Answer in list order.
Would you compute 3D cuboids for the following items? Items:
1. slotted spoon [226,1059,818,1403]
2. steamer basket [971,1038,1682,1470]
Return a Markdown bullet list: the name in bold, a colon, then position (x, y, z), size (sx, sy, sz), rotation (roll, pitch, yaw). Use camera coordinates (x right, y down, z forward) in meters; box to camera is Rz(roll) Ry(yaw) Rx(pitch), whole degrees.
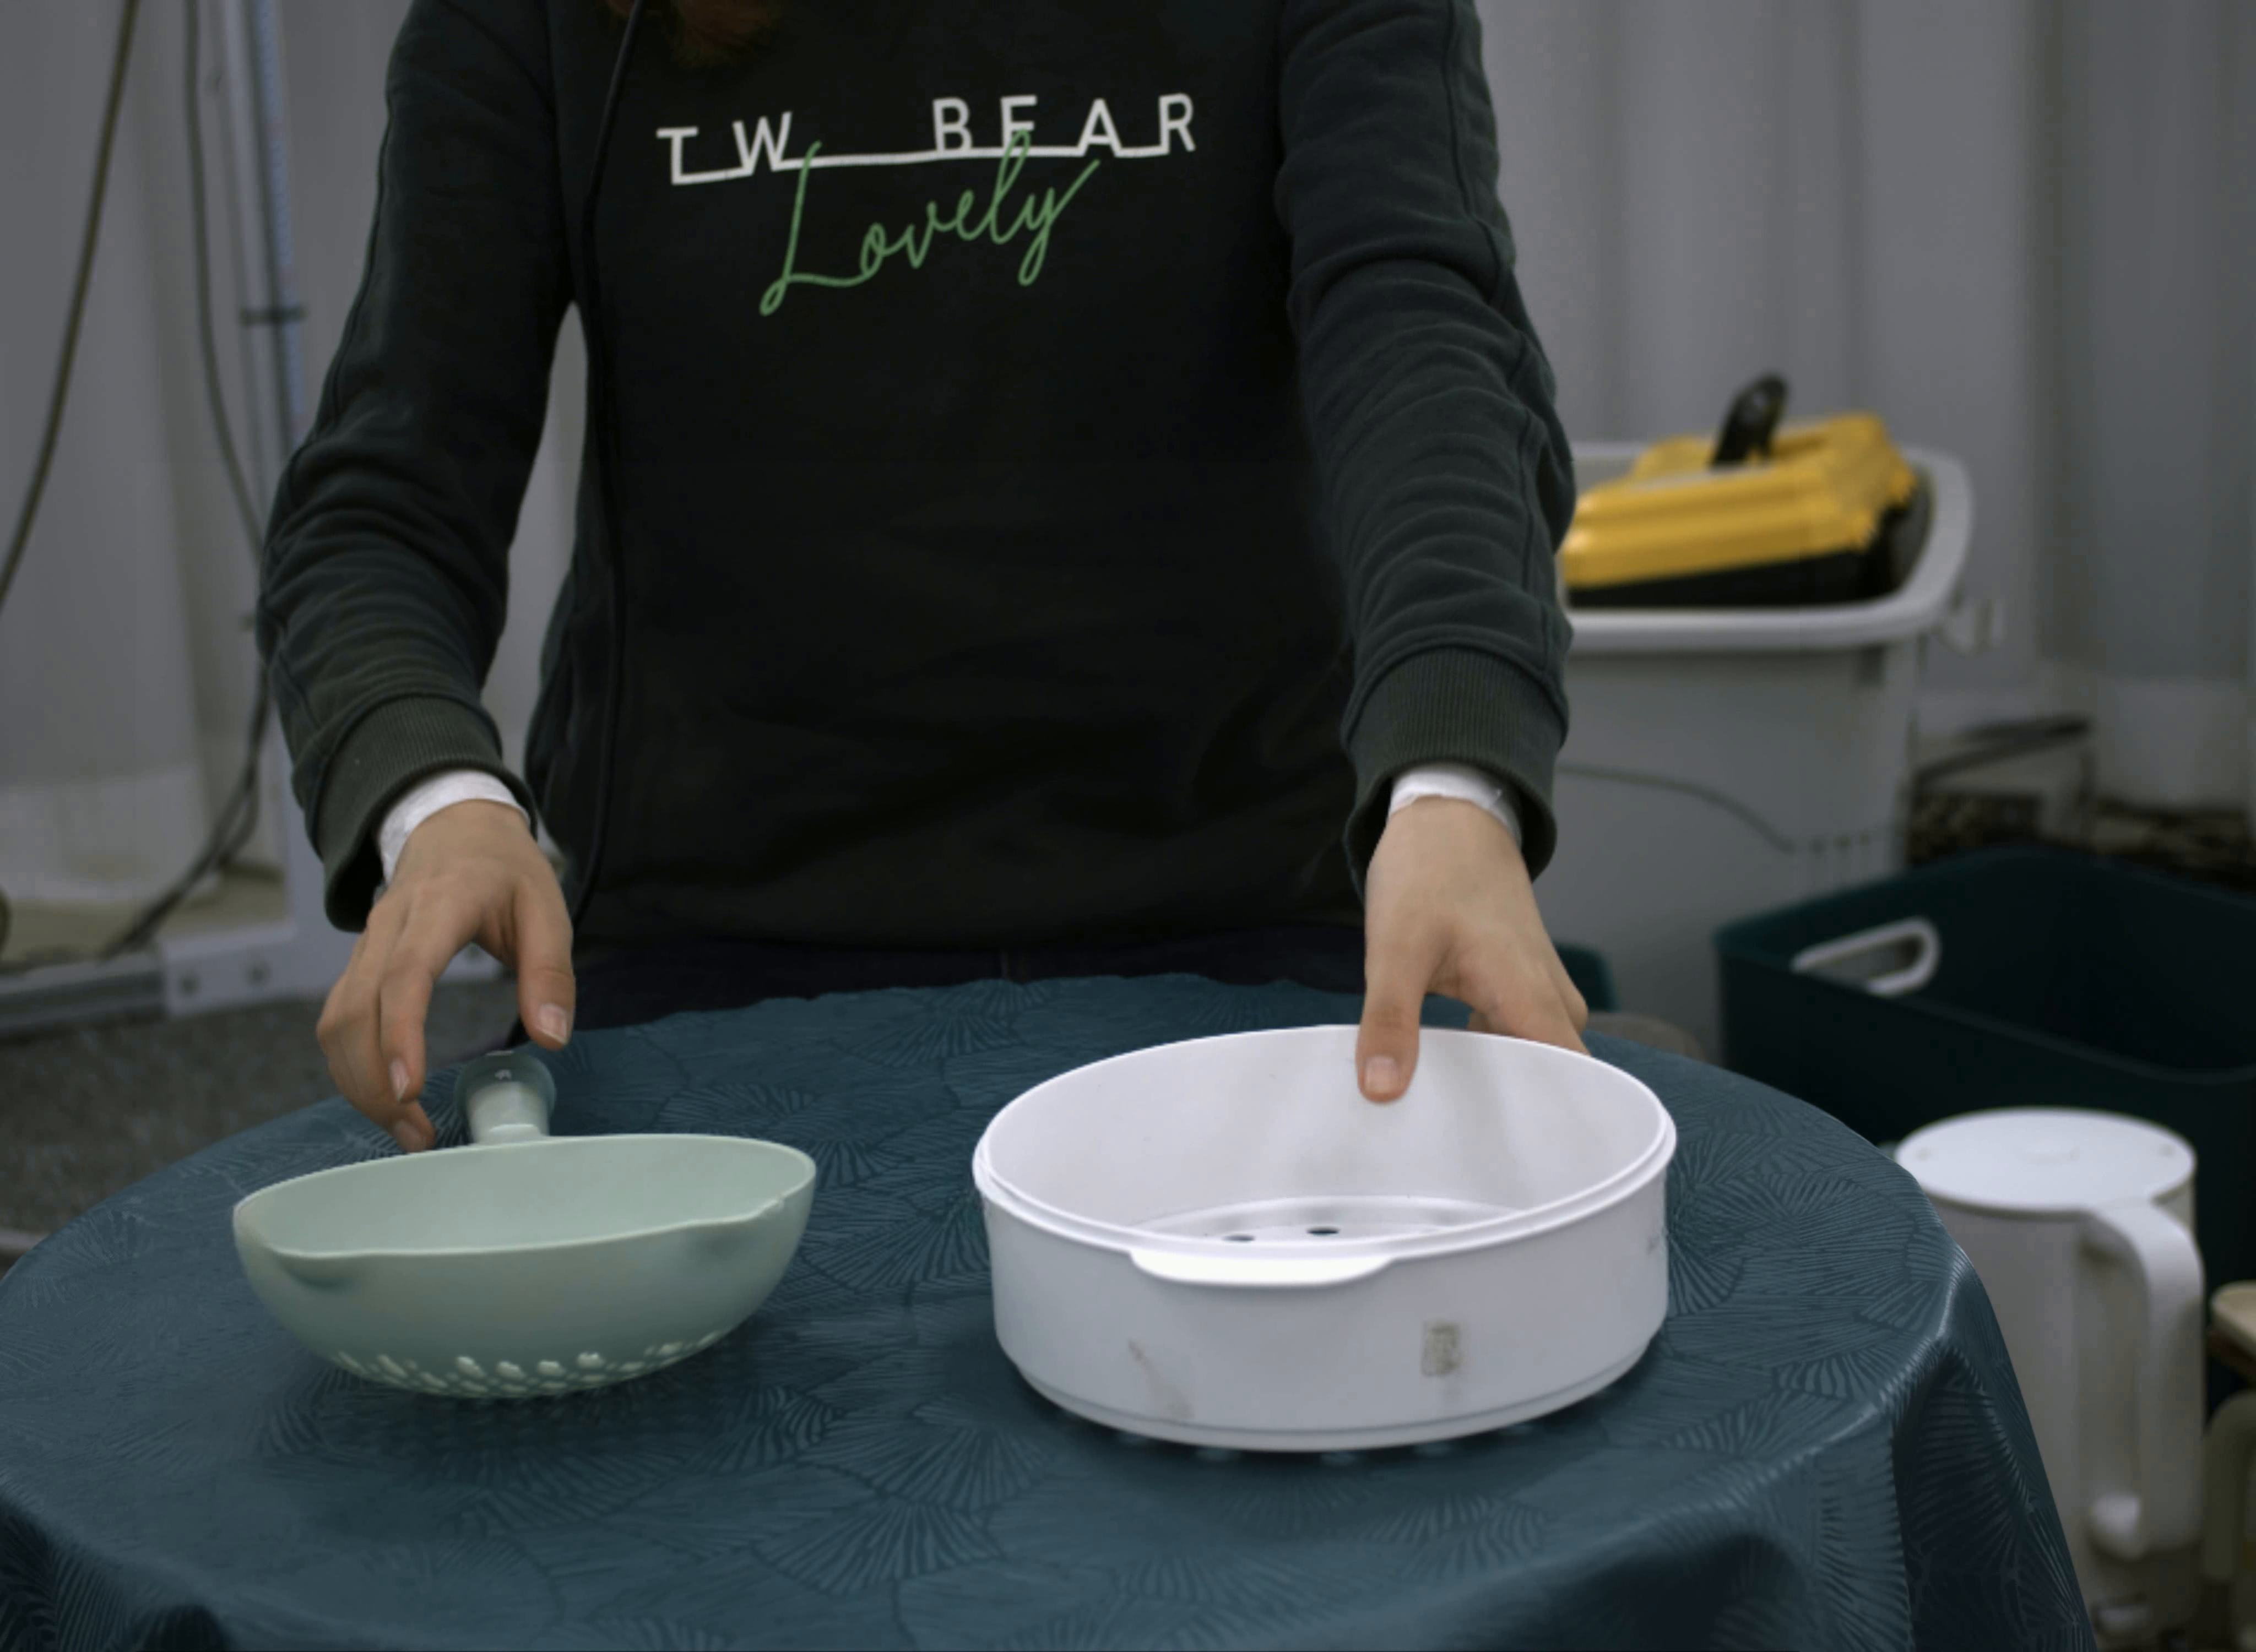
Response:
- **slotted spoon**: position (-0.185, 0.107, 1.660), size (0.168, 0.075, 0.361), rotation (-4, 14, -7)
- **steamer basket**: position (0.057, 0.121, 1.556), size (0.201, 0.069, 0.231), rotation (2, 15, 11)
